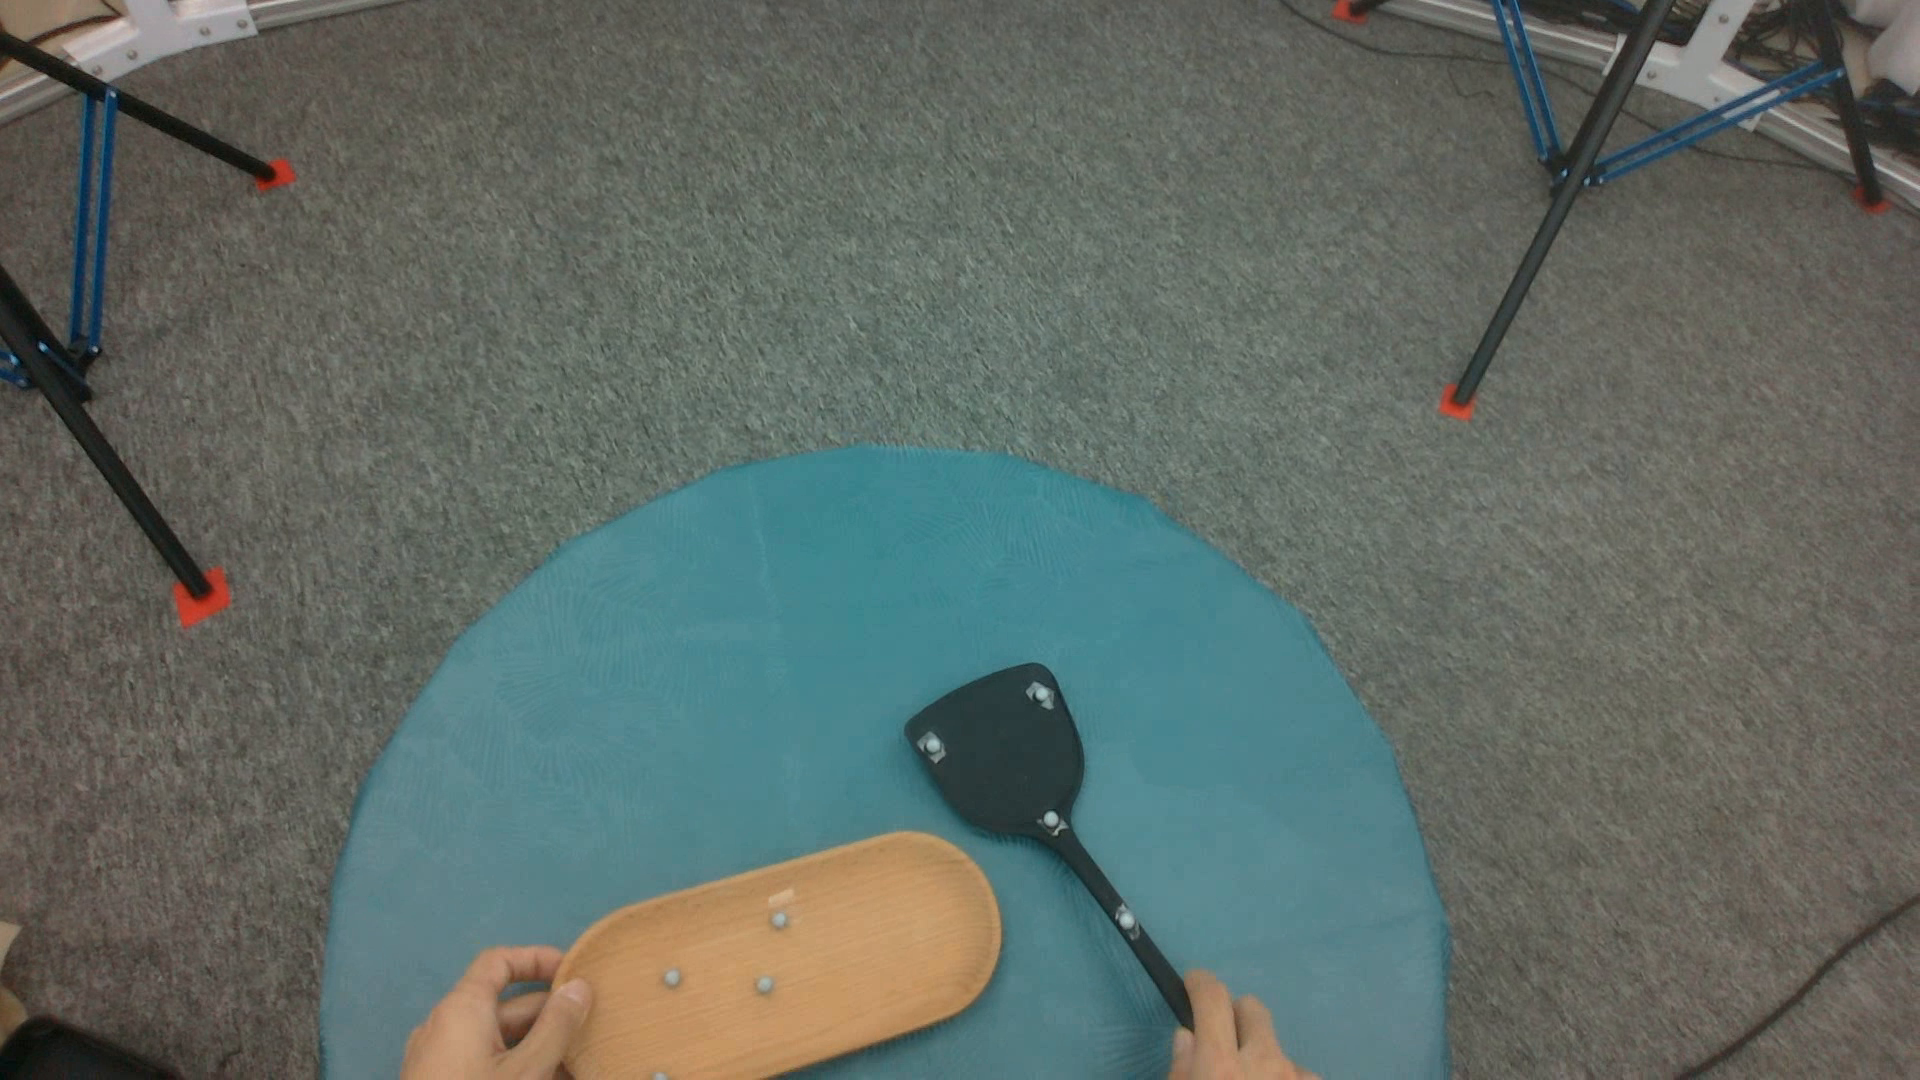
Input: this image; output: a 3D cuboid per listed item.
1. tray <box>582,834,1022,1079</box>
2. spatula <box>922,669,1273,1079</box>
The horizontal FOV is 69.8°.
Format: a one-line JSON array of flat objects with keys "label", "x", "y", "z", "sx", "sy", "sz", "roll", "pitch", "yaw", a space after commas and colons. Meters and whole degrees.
[{"label": "tray", "x": -0.079, "y": 0.221, "z": 0.719, "sx": 0.232, "sy": 0.020, "sz": 0.102, "roll": -11, "pitch": 62, "yaw": -19}, {"label": "spatula", "x": 0.096, "y": 0.201, "z": 0.726, "sx": 0.100, "sy": 0.040, "sz": 0.327, "roll": -23, "pitch": 50, "yaw": -20}]
